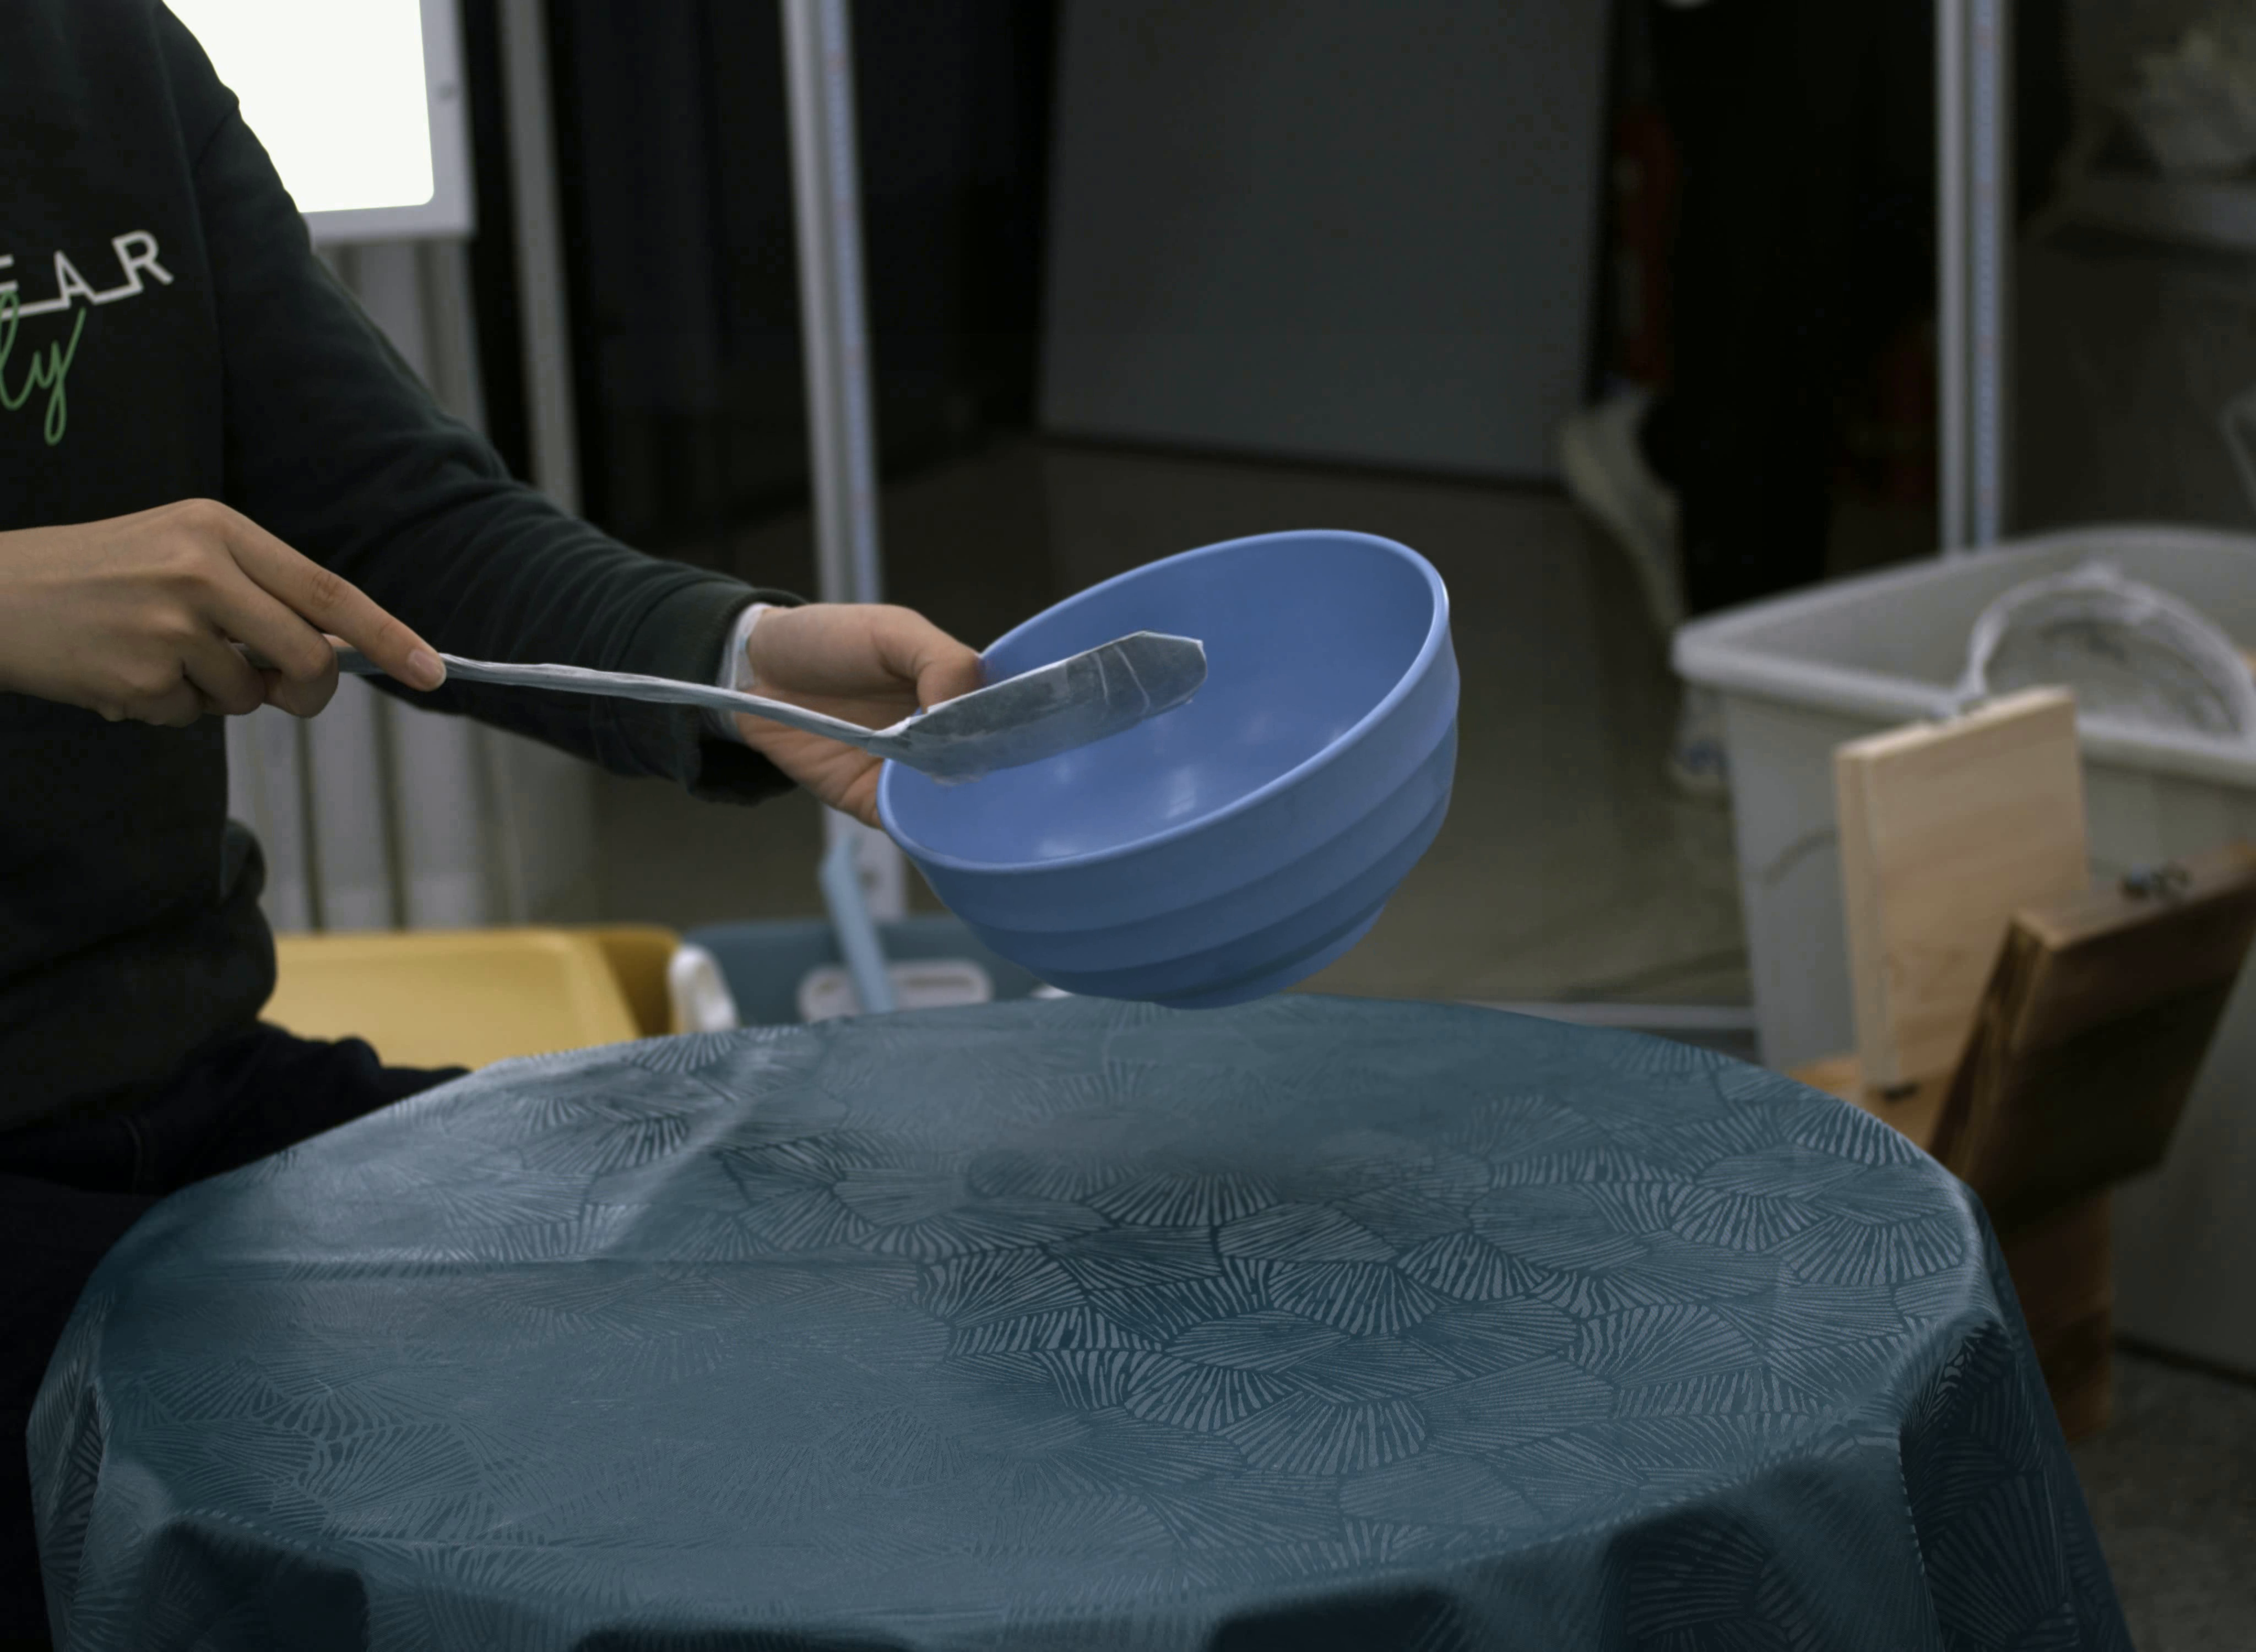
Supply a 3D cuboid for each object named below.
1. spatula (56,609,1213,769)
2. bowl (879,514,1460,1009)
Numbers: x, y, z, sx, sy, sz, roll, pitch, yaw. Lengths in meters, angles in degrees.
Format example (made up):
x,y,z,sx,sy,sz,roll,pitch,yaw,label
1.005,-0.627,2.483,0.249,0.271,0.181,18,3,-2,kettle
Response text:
x,y,z,sx,sy,sz,roll,pitch,yaw,label
-0.155,-0.048,1.685,0.361,0.045,0.098,5,-14,3,spatula
0.026,-0.007,1.735,0.195,0.095,0.197,-20,27,10,bowl
